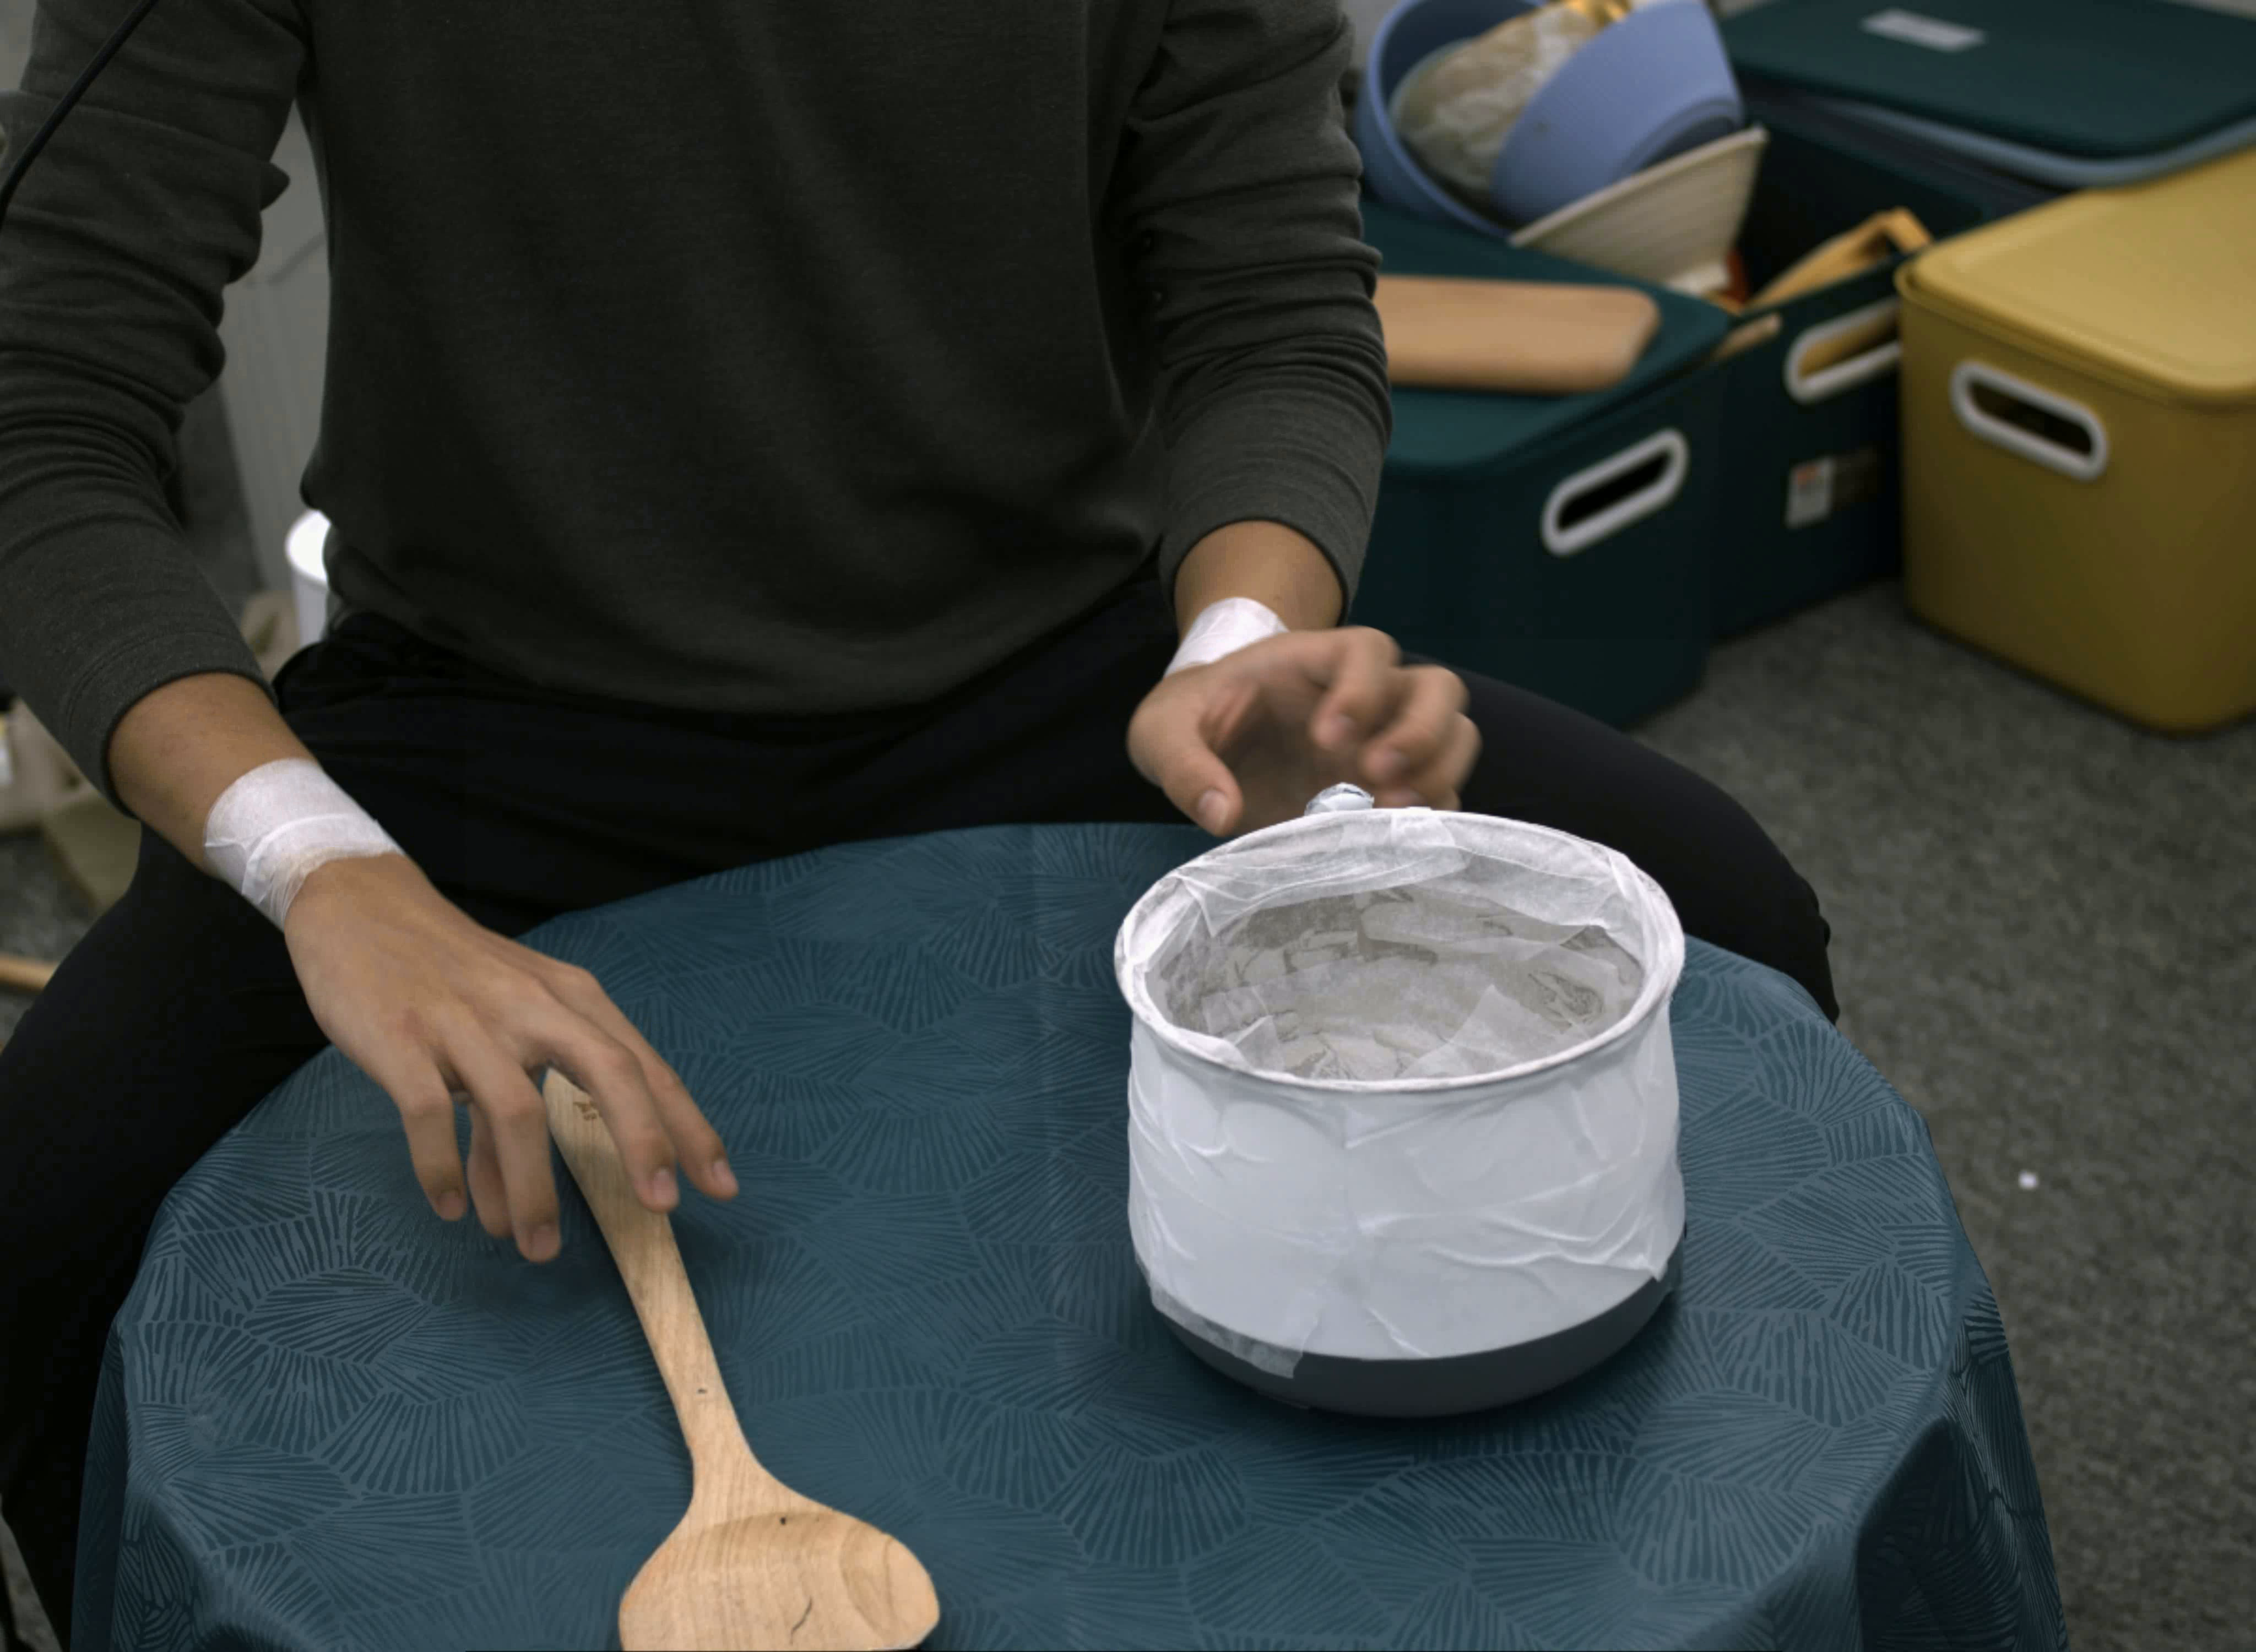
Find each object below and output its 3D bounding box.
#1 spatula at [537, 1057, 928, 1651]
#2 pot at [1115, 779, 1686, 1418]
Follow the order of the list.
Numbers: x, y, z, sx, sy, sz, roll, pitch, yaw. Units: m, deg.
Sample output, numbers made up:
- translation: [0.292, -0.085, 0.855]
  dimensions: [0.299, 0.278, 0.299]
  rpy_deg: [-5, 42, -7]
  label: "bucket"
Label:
- translation: [-0.148, 0.165, 1.772]
  dimensions: [0.096, 0.018, 0.395]
  rpy_deg: [-8, 28, -13]
  label: "spatula"
- translation: [0.082, 0.079, 1.789]
  dimensions: [0.178, 0.135, 0.236]
  rpy_deg: [-6, 27, -7]
  label: "pot"
